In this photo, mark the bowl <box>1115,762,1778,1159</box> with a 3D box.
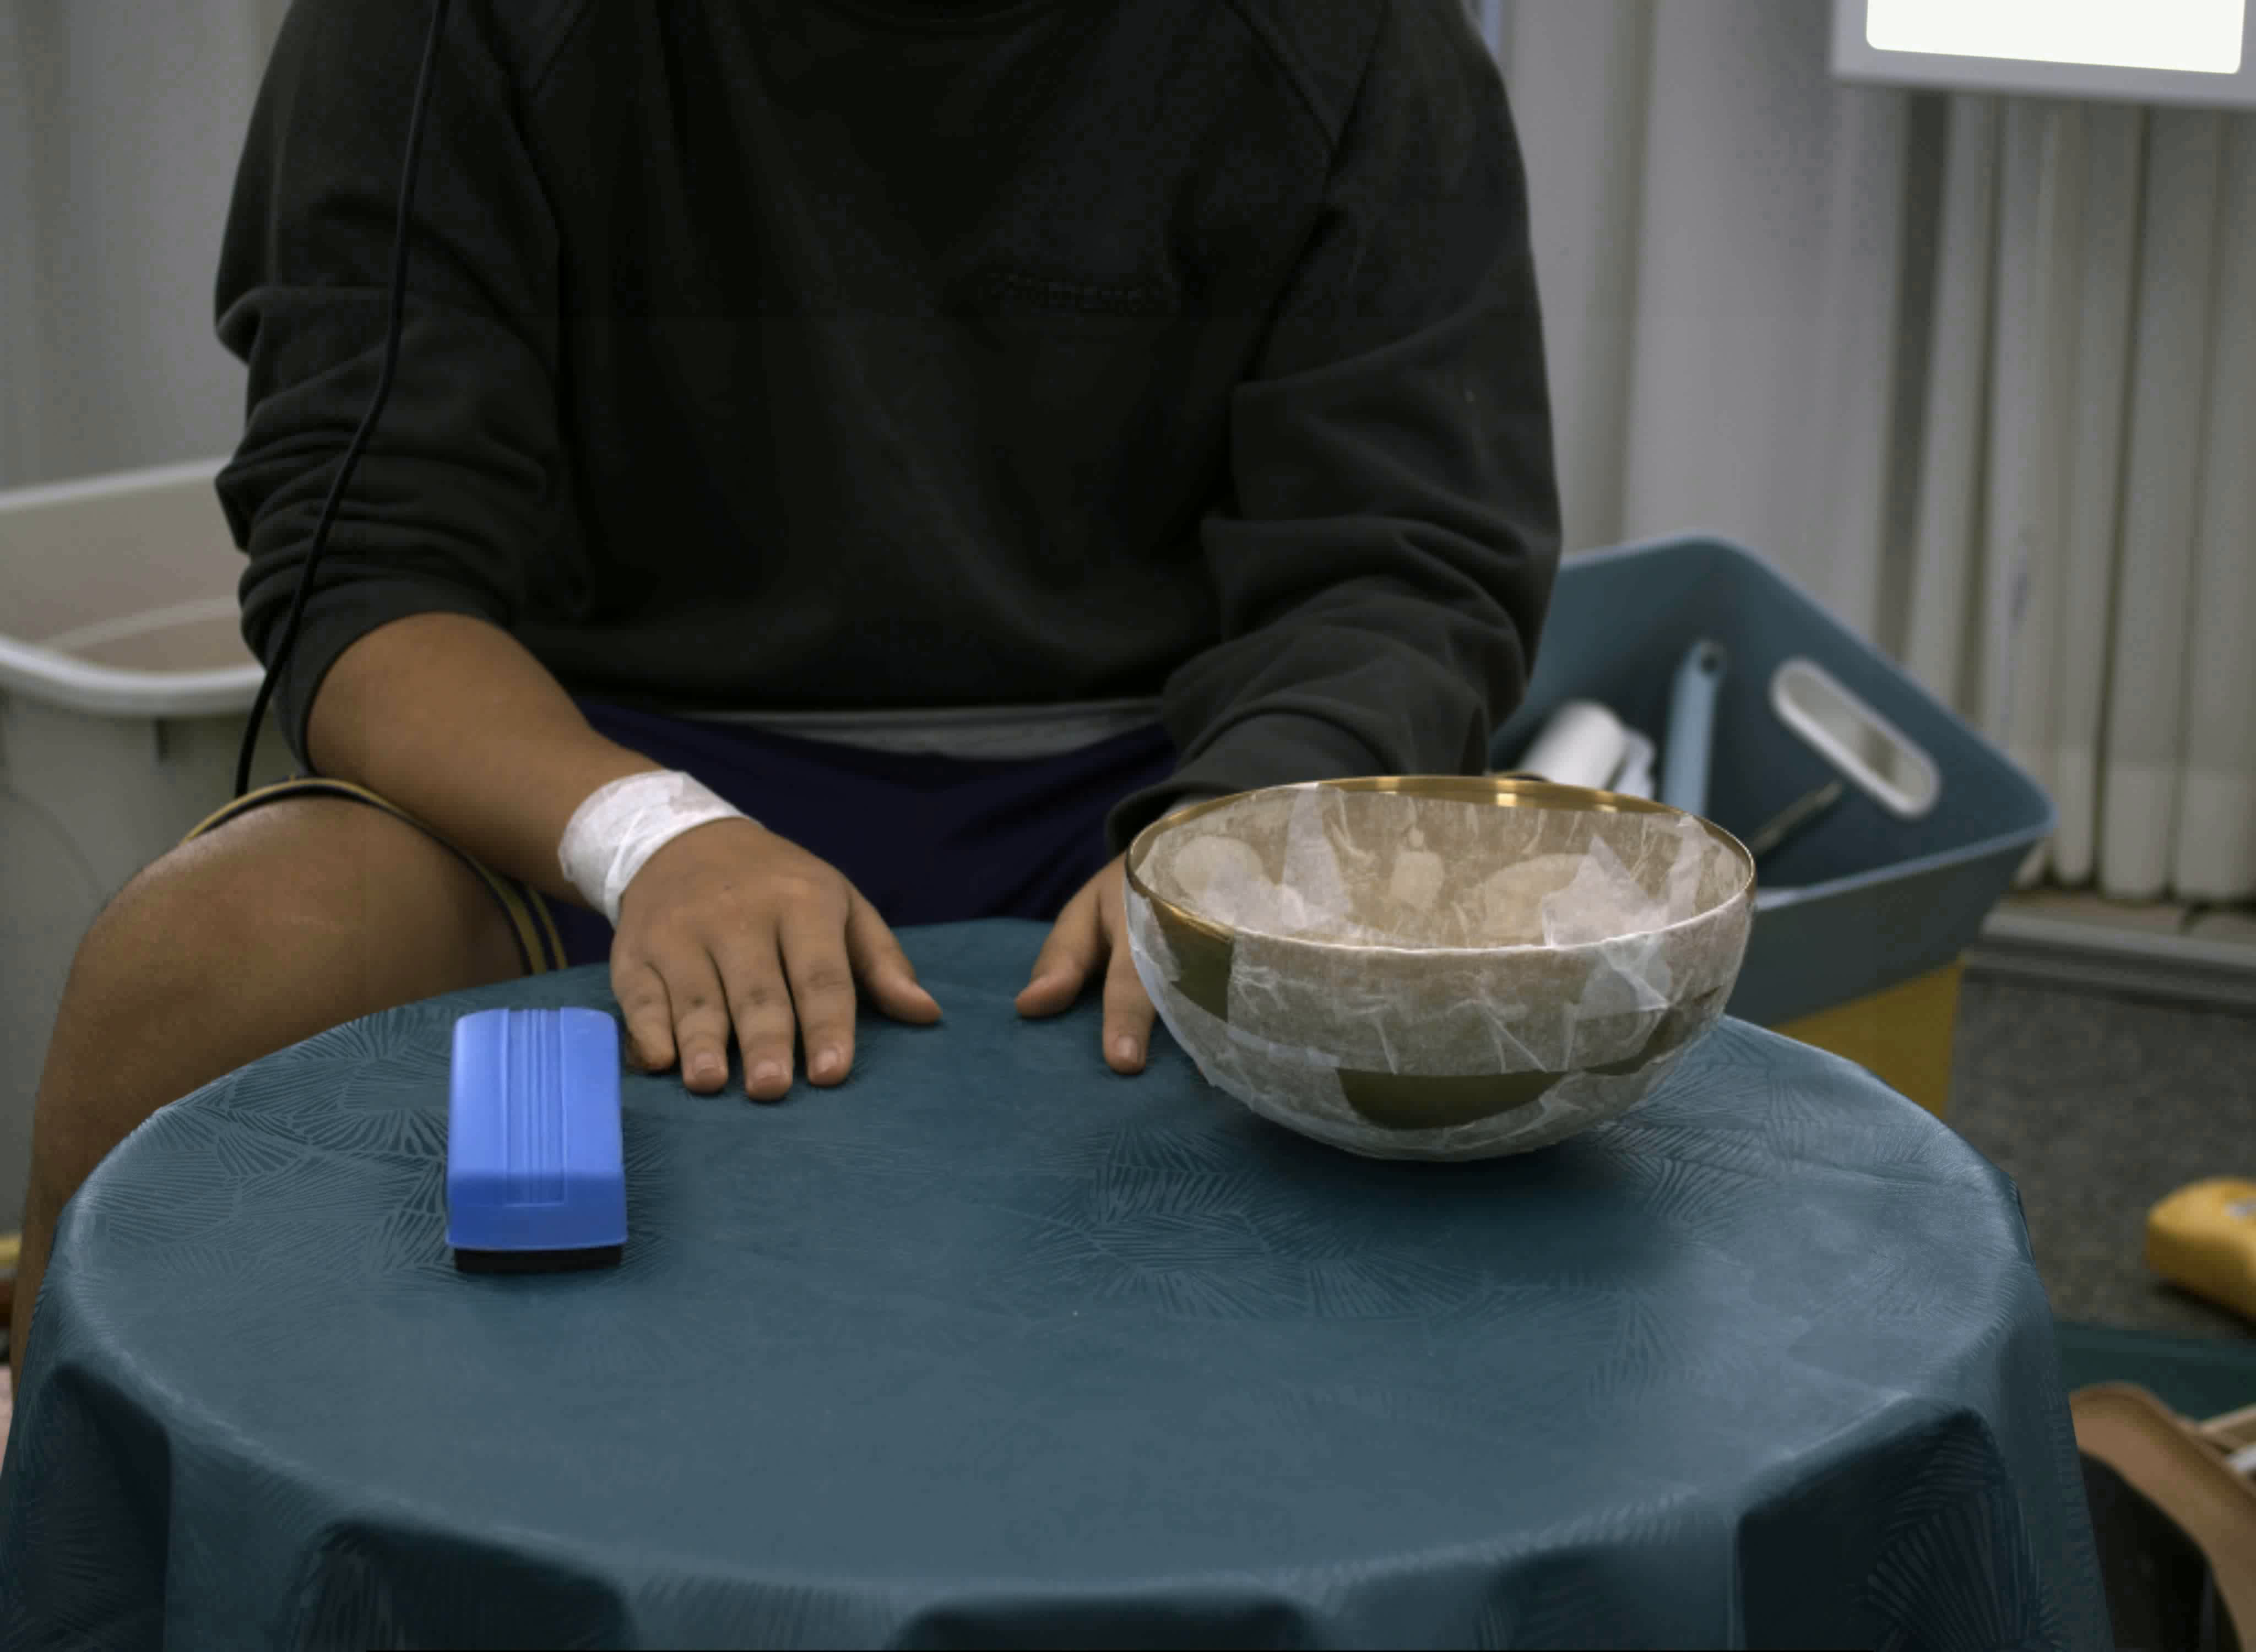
[{"bbox_3d":[0.099,0.051,1.673,0.214,0.095,0.213,0,16,1],"label":"bowl"}]

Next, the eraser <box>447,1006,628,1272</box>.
[{"bbox_3d":[-0.182,0.089,1.615,0.054,0.048,0.161,-3,16,-6],"label":"eraser"}]
